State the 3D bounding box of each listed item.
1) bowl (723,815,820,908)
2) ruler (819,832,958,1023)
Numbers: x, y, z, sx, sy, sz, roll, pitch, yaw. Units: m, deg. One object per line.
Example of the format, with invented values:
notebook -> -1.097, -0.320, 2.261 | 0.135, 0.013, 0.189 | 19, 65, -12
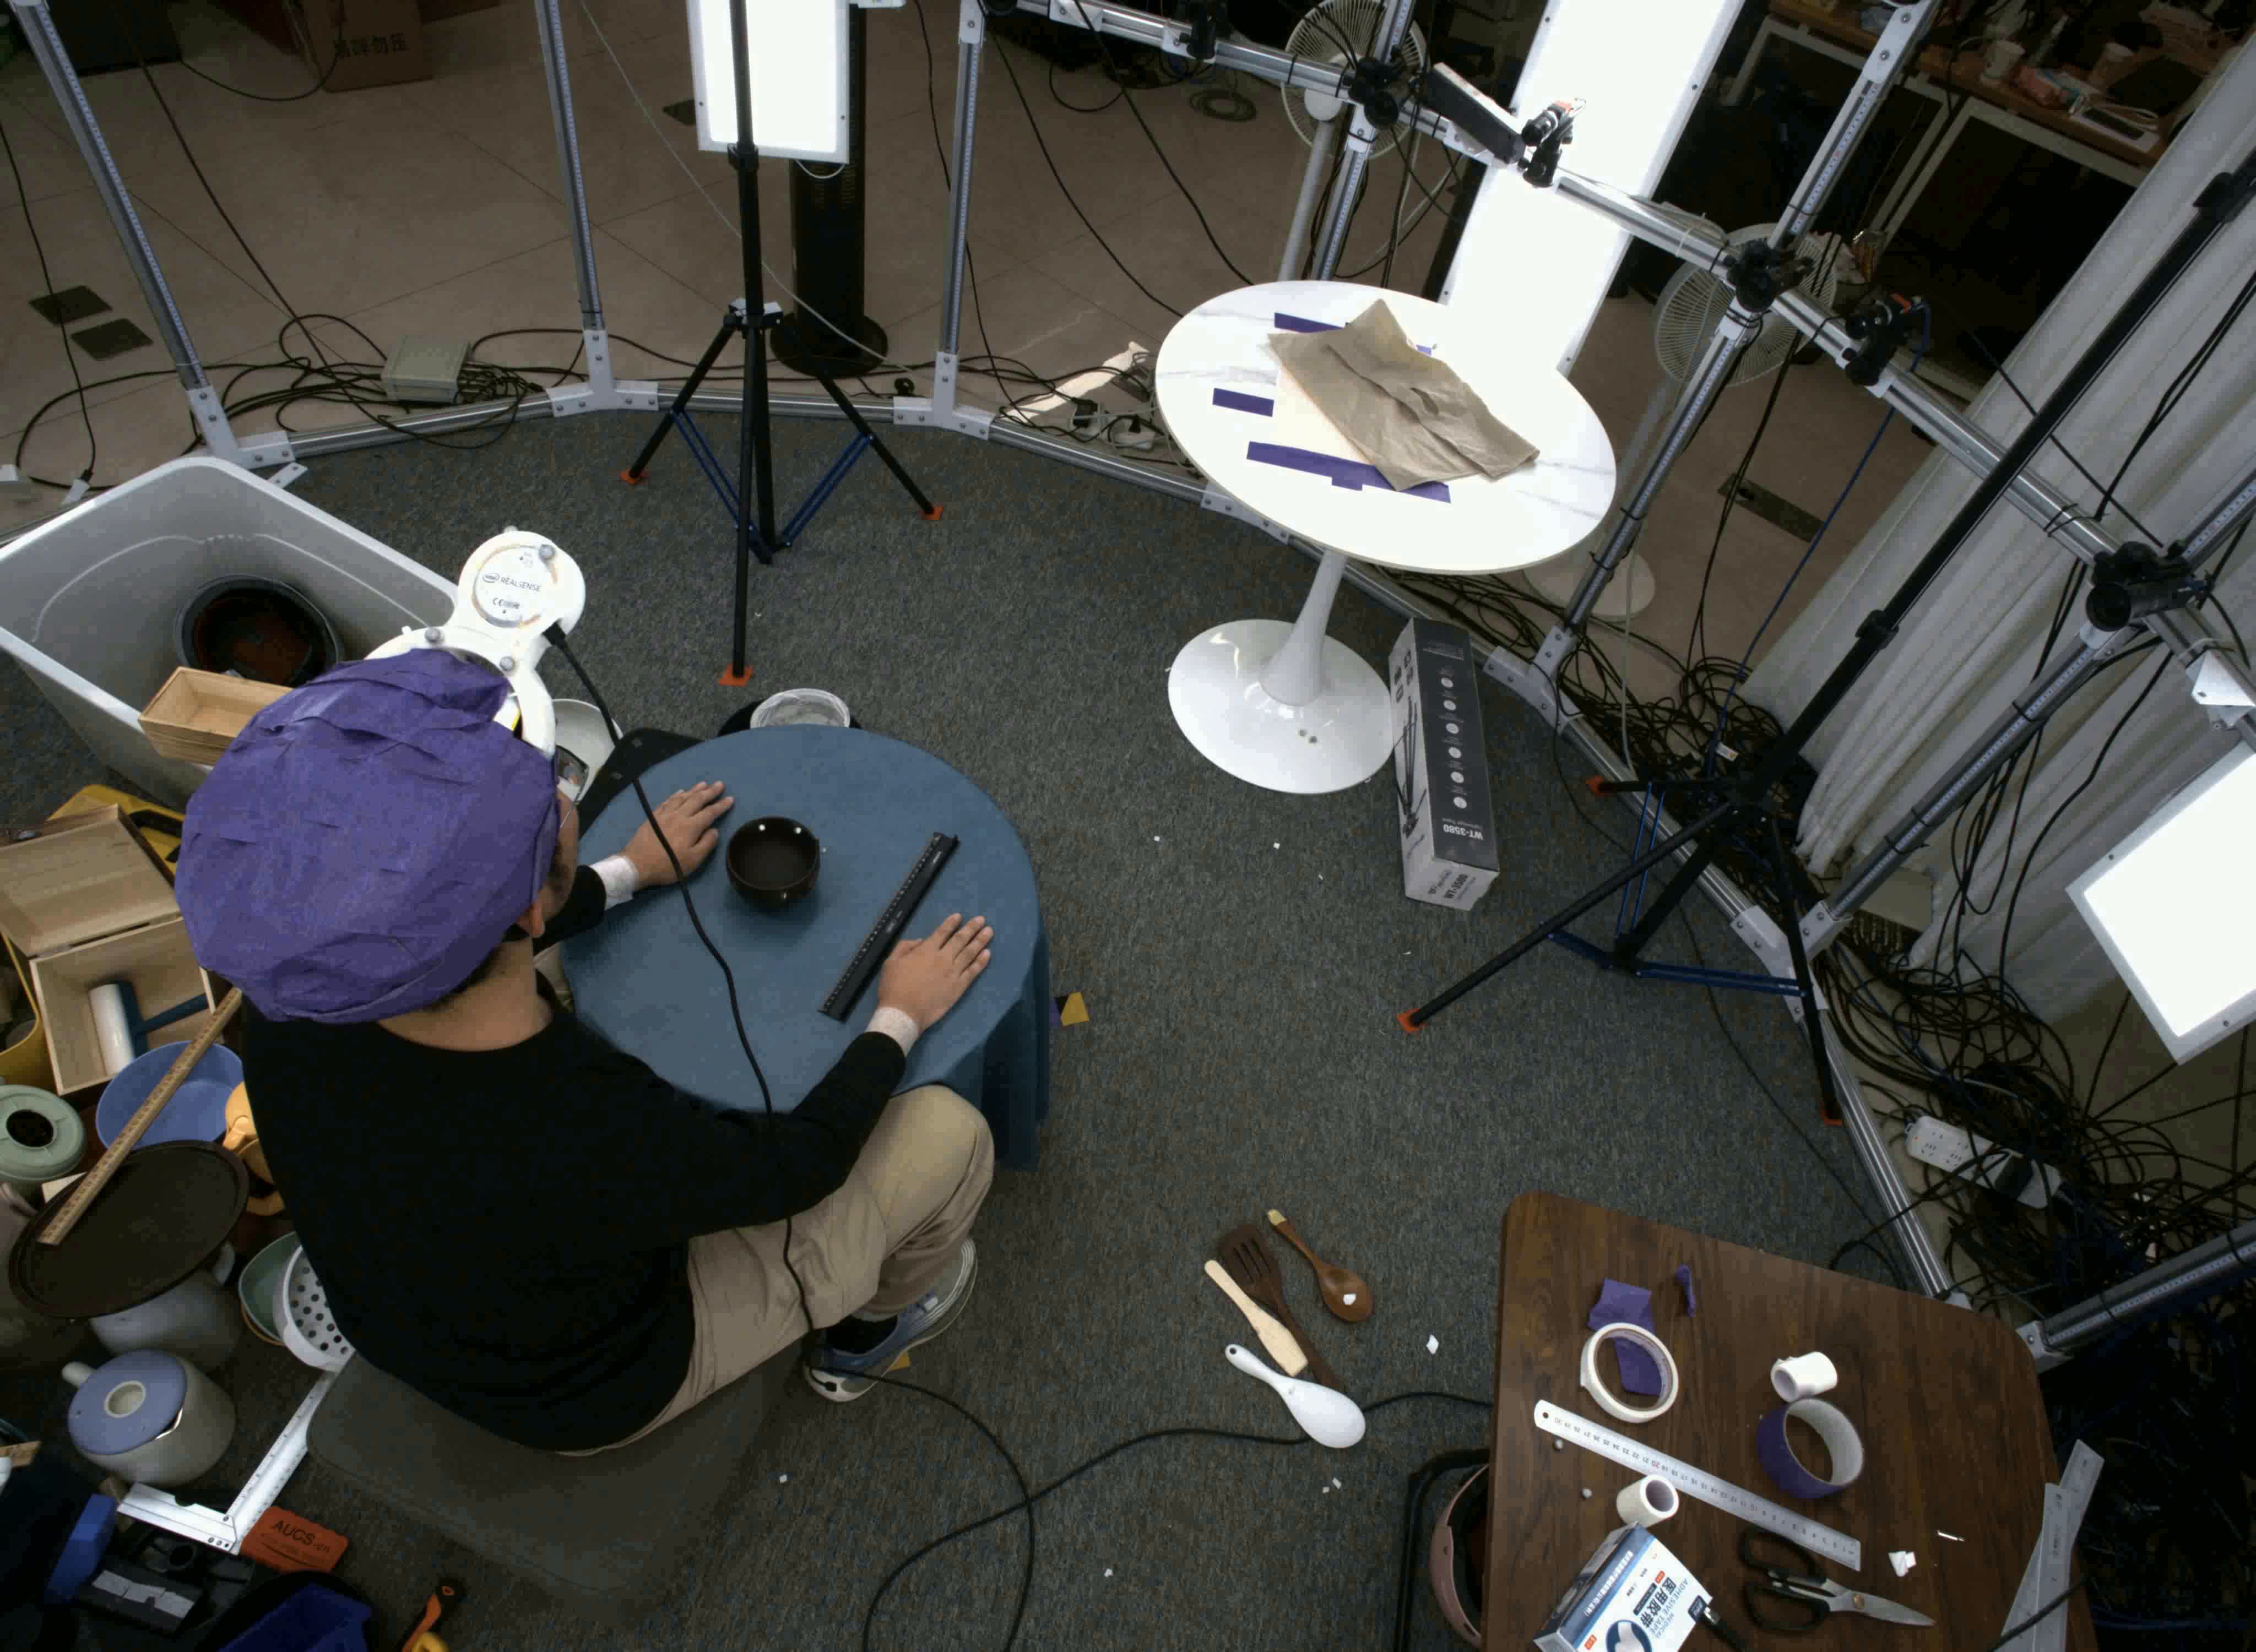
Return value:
bowl -> -0.447, 0.051, 1.627 | 0.118, 0.071, 0.116 | 8, 51, -8
ruler -> -0.301, 0.116, 1.655 | 0.038, 0.017, 0.310 | 22, 52, 8
